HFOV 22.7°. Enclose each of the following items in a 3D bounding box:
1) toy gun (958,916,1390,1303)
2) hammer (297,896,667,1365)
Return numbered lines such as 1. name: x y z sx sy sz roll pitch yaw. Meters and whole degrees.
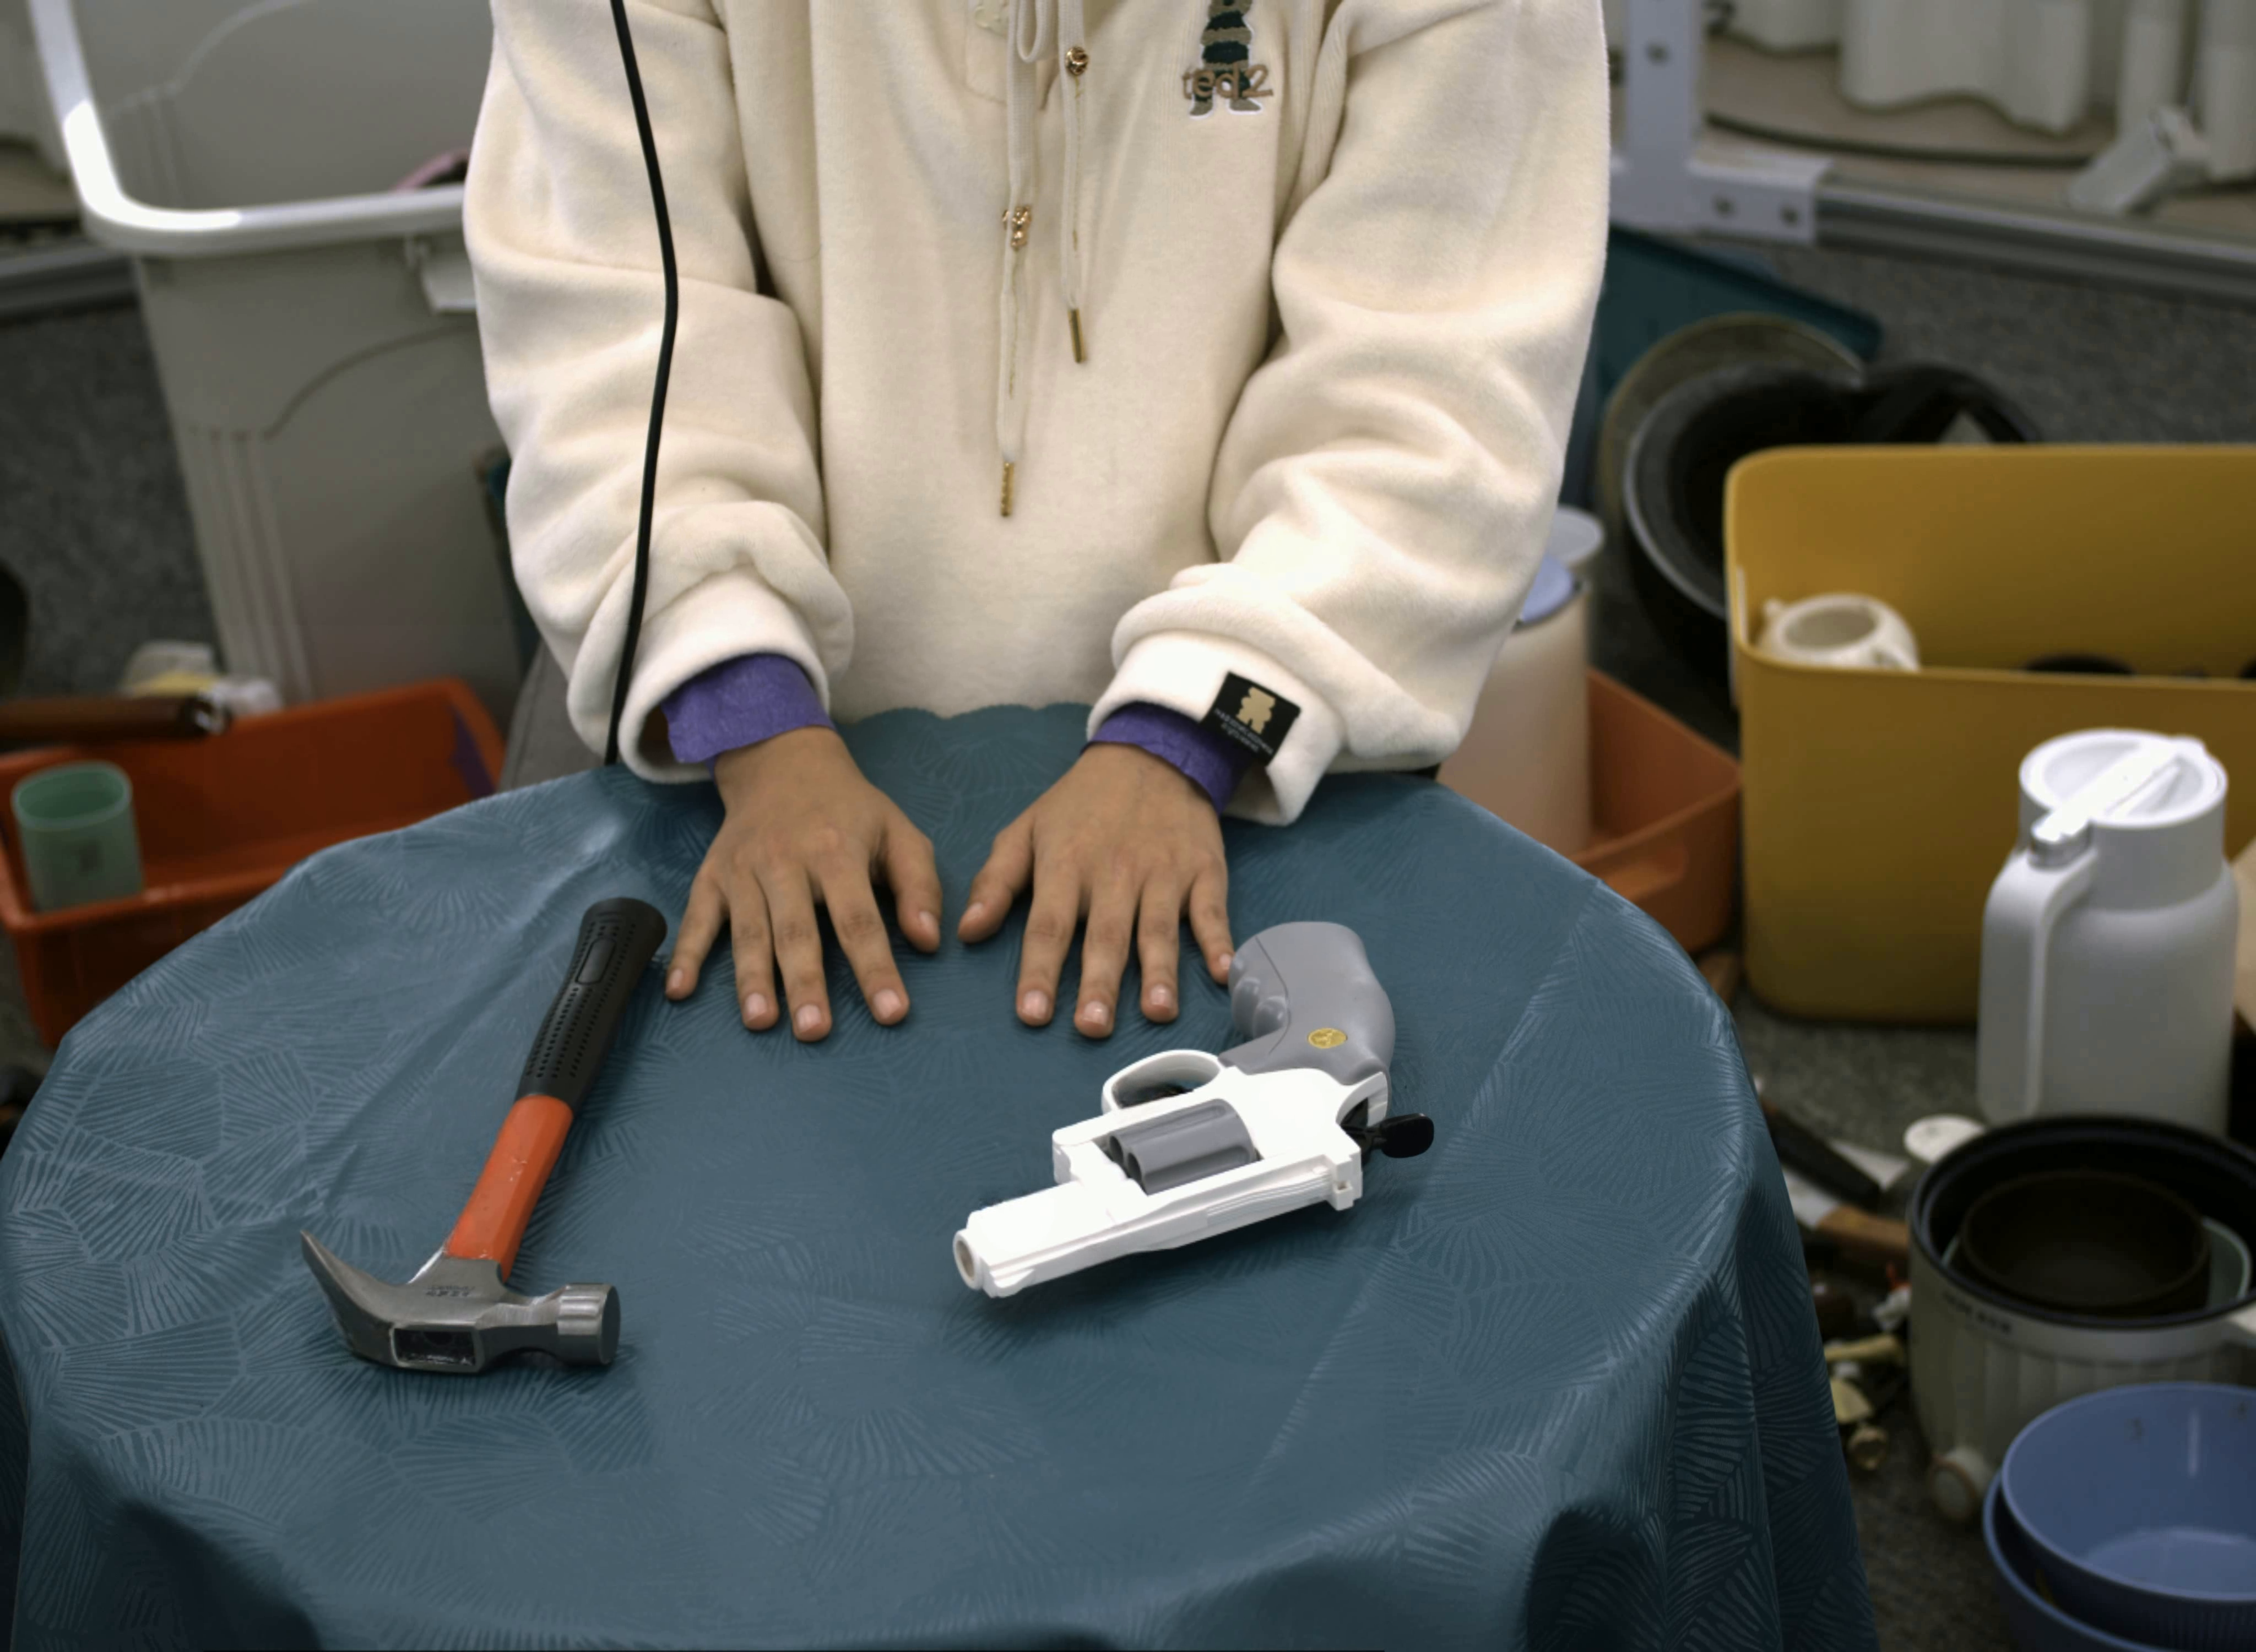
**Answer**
1. toy gun: 0.017 0.094 1.869 0.210 0.038 0.142 -16 32 -26
2. hammer: -0.201 0.099 1.895 0.110 0.026 0.282 -6 26 12
